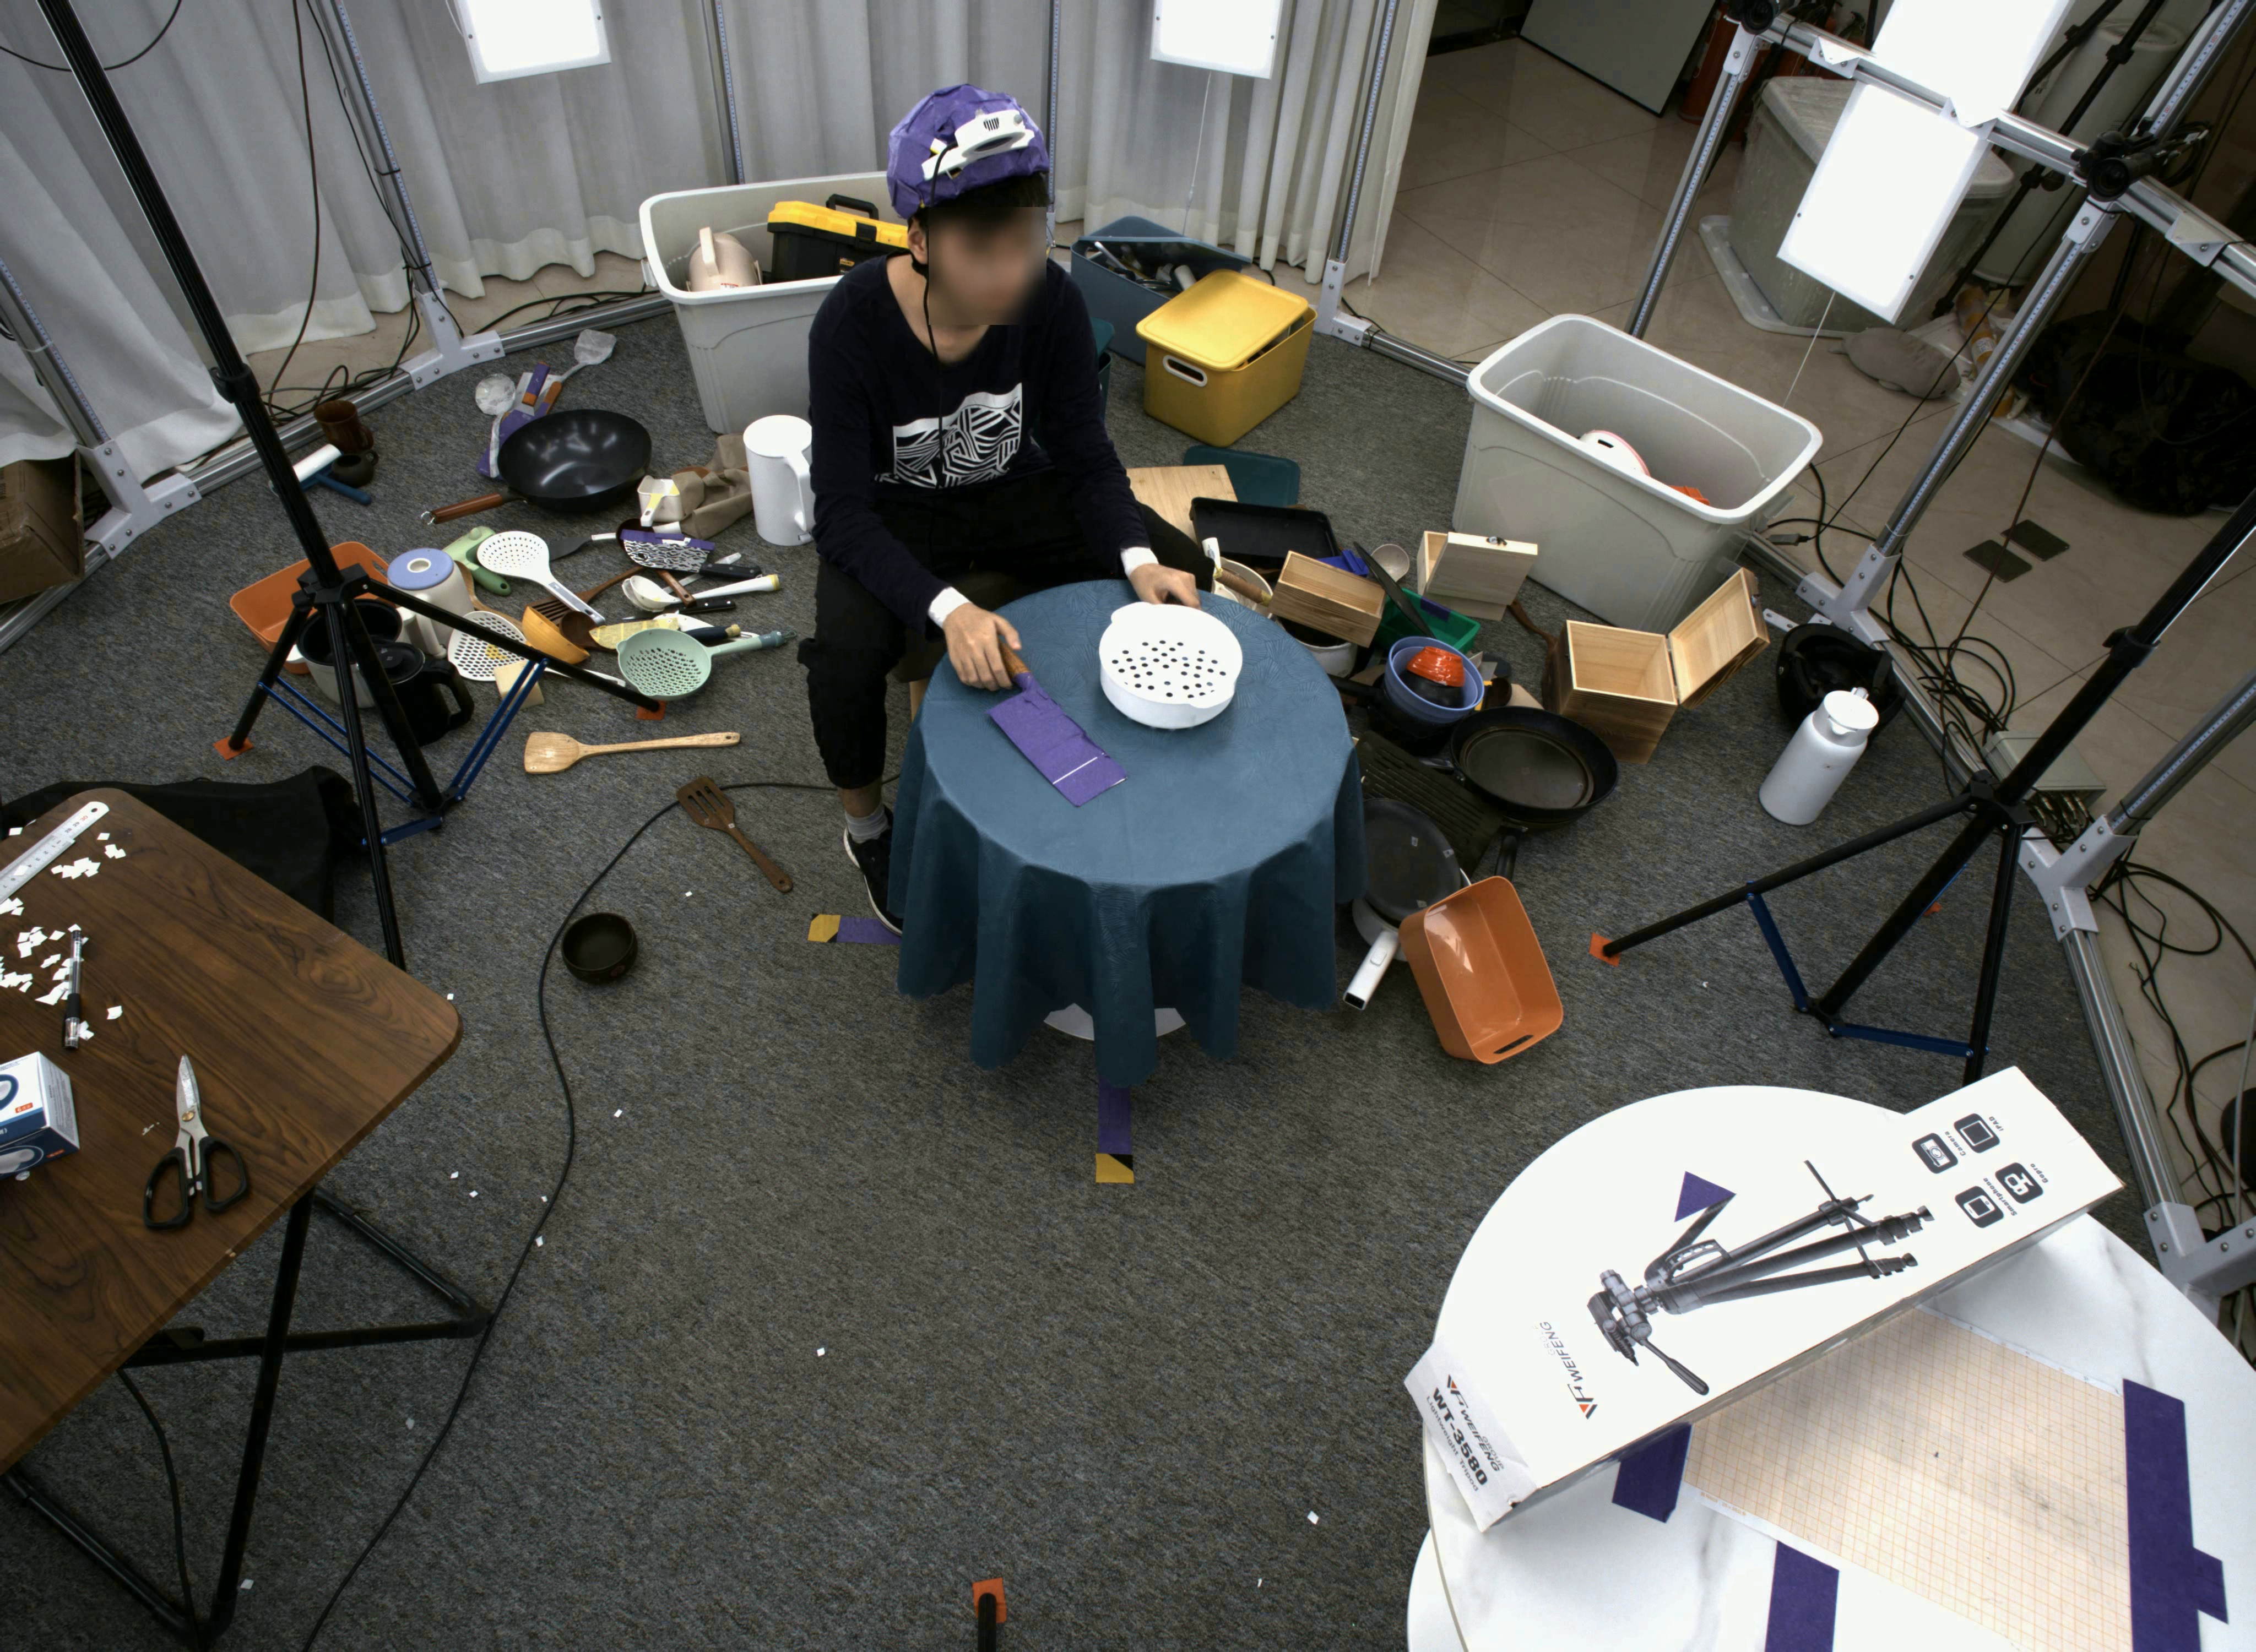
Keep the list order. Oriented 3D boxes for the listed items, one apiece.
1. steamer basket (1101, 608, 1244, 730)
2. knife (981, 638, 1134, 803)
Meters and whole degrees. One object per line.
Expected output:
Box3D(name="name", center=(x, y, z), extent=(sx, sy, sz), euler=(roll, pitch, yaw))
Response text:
Box3D(name="steamer basket", center=(0.062, -0.221, 1.822), extent=(0.203, 0.067, 0.235), euler=(-24, 52, -24))
Box3D(name="knife", center=(-0.127, -0.150, 1.771), extent=(0.104, 0.031, 0.321), euler=(-29, 57, -26))
